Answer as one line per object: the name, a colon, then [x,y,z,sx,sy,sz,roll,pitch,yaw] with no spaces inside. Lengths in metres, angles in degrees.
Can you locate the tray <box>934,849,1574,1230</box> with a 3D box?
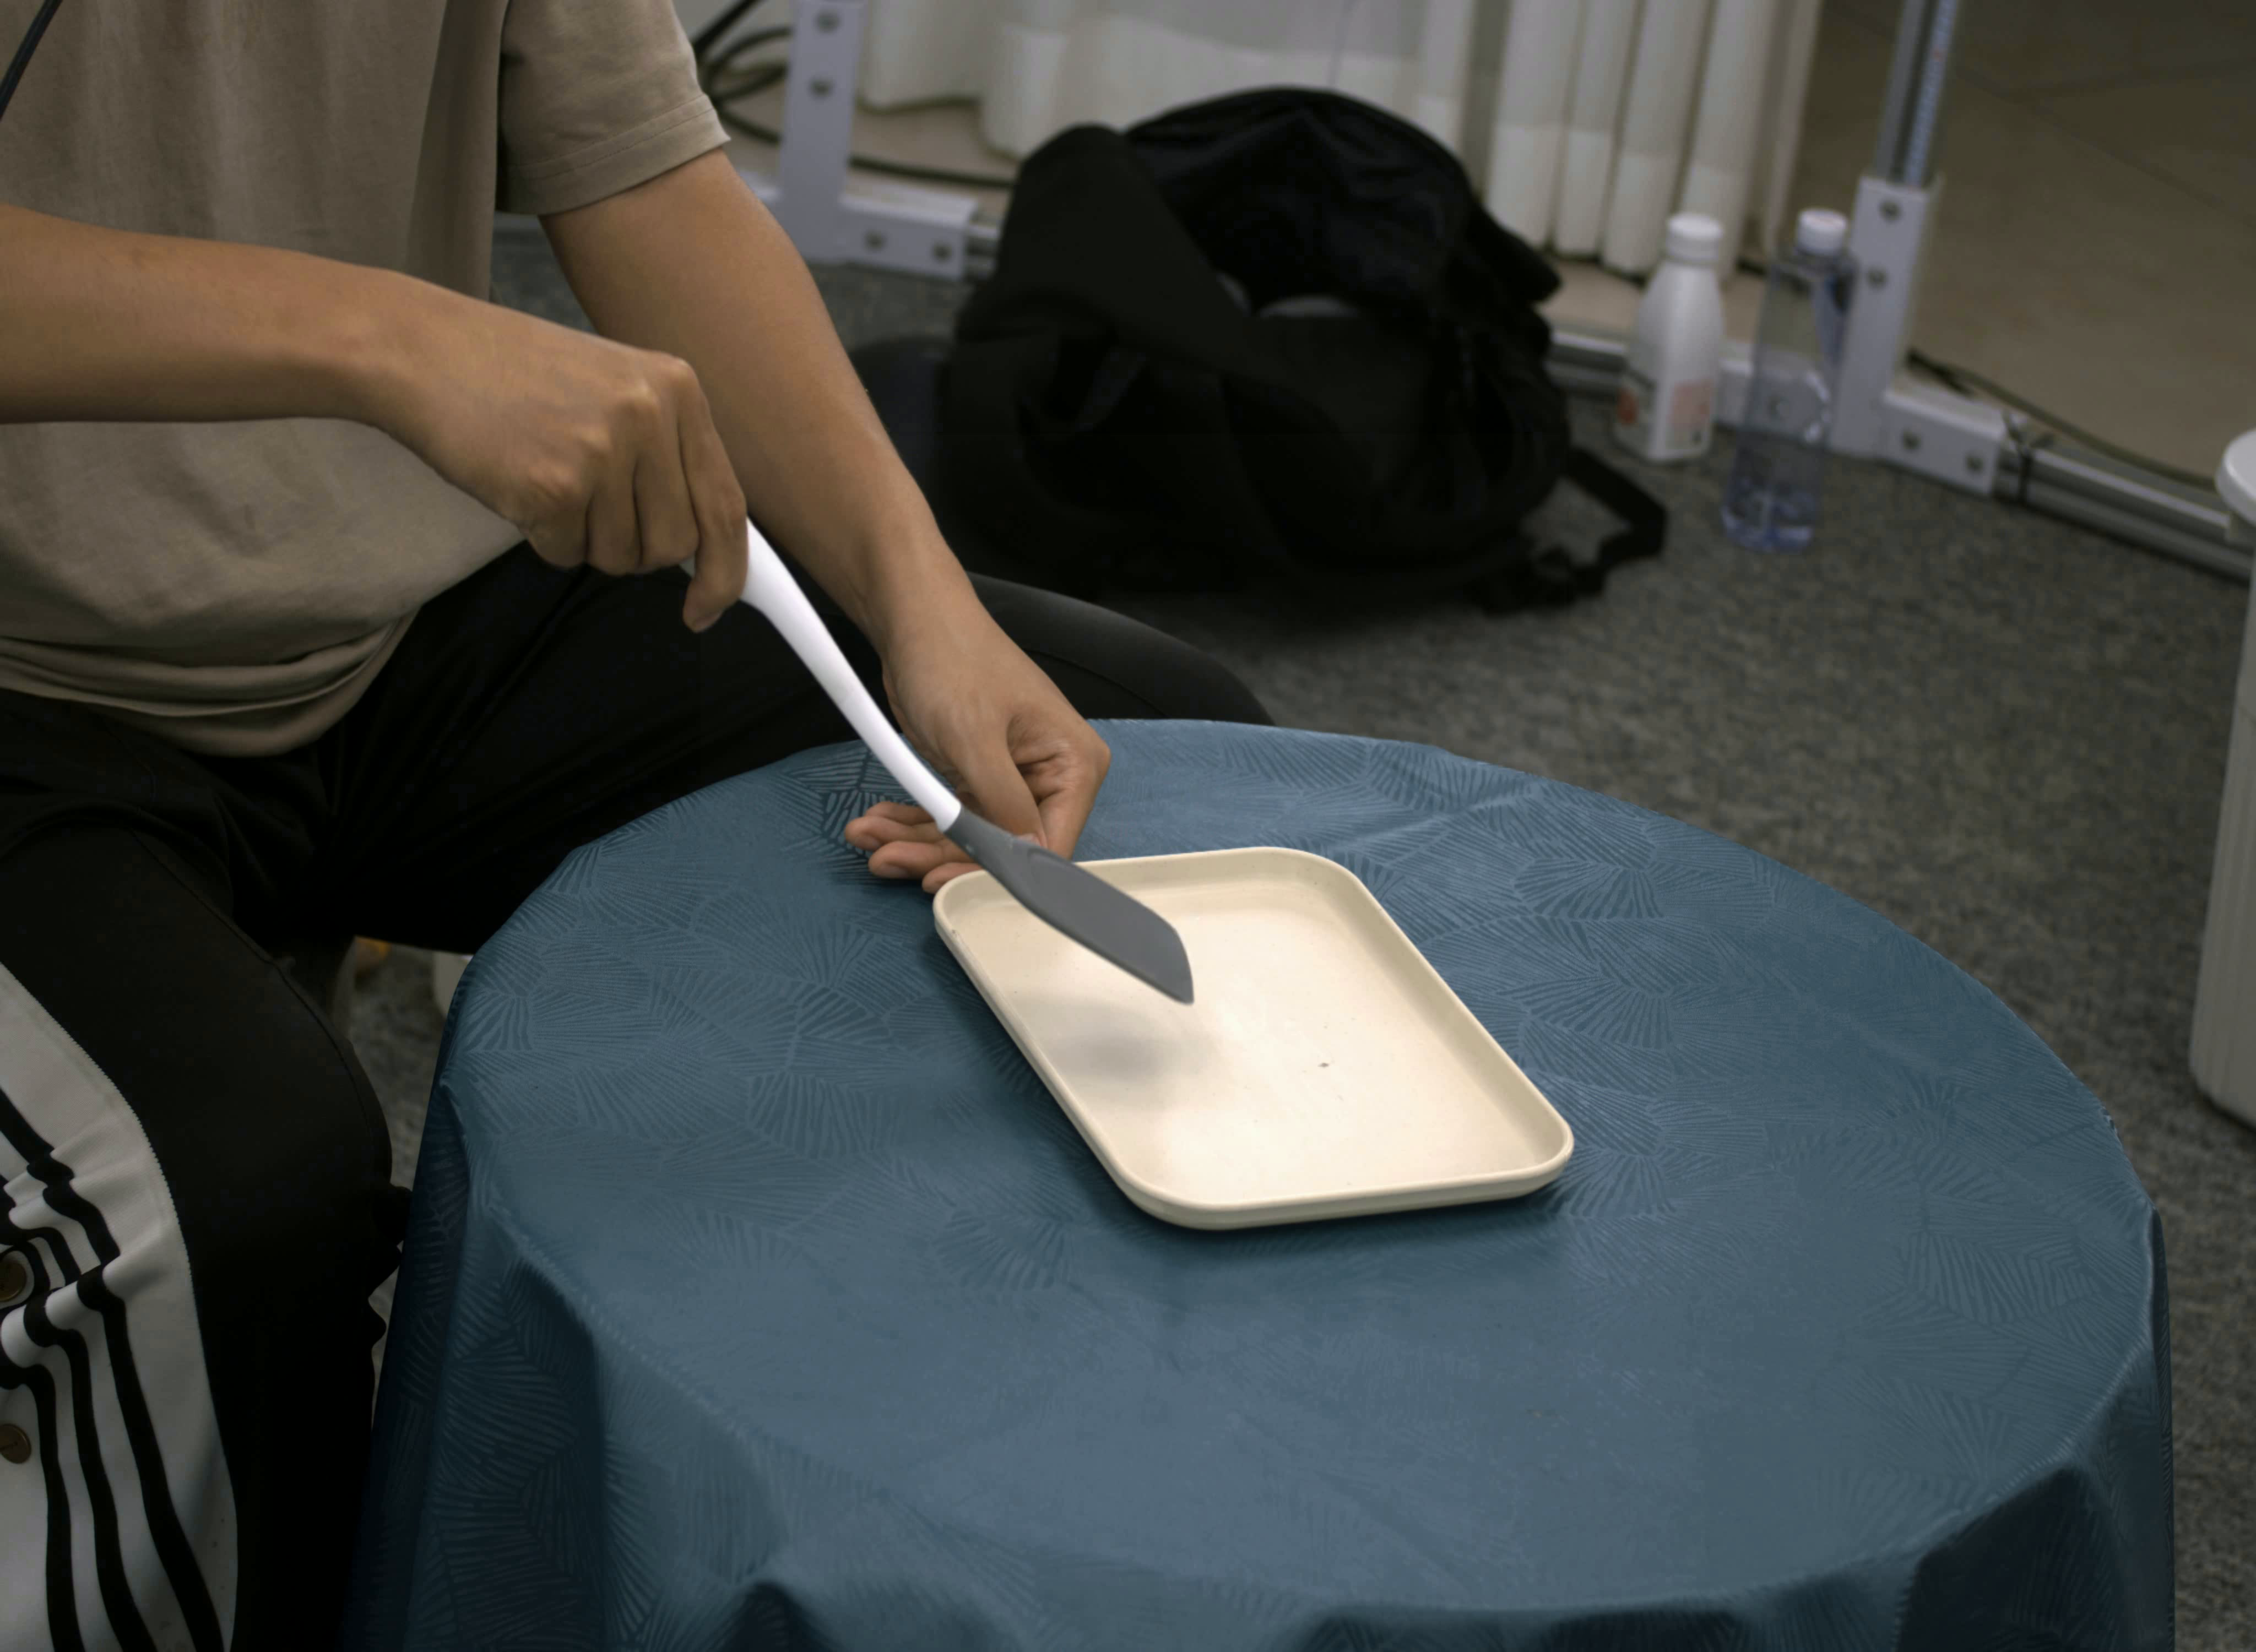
tray: [0.041,0.074,1.891,0.170,0.017,0.242,-4,29,-22]

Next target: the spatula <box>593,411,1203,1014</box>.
spatula: [-0.074,-0.034,1.818,0.285,0.032,0.059,45,15,-22]
